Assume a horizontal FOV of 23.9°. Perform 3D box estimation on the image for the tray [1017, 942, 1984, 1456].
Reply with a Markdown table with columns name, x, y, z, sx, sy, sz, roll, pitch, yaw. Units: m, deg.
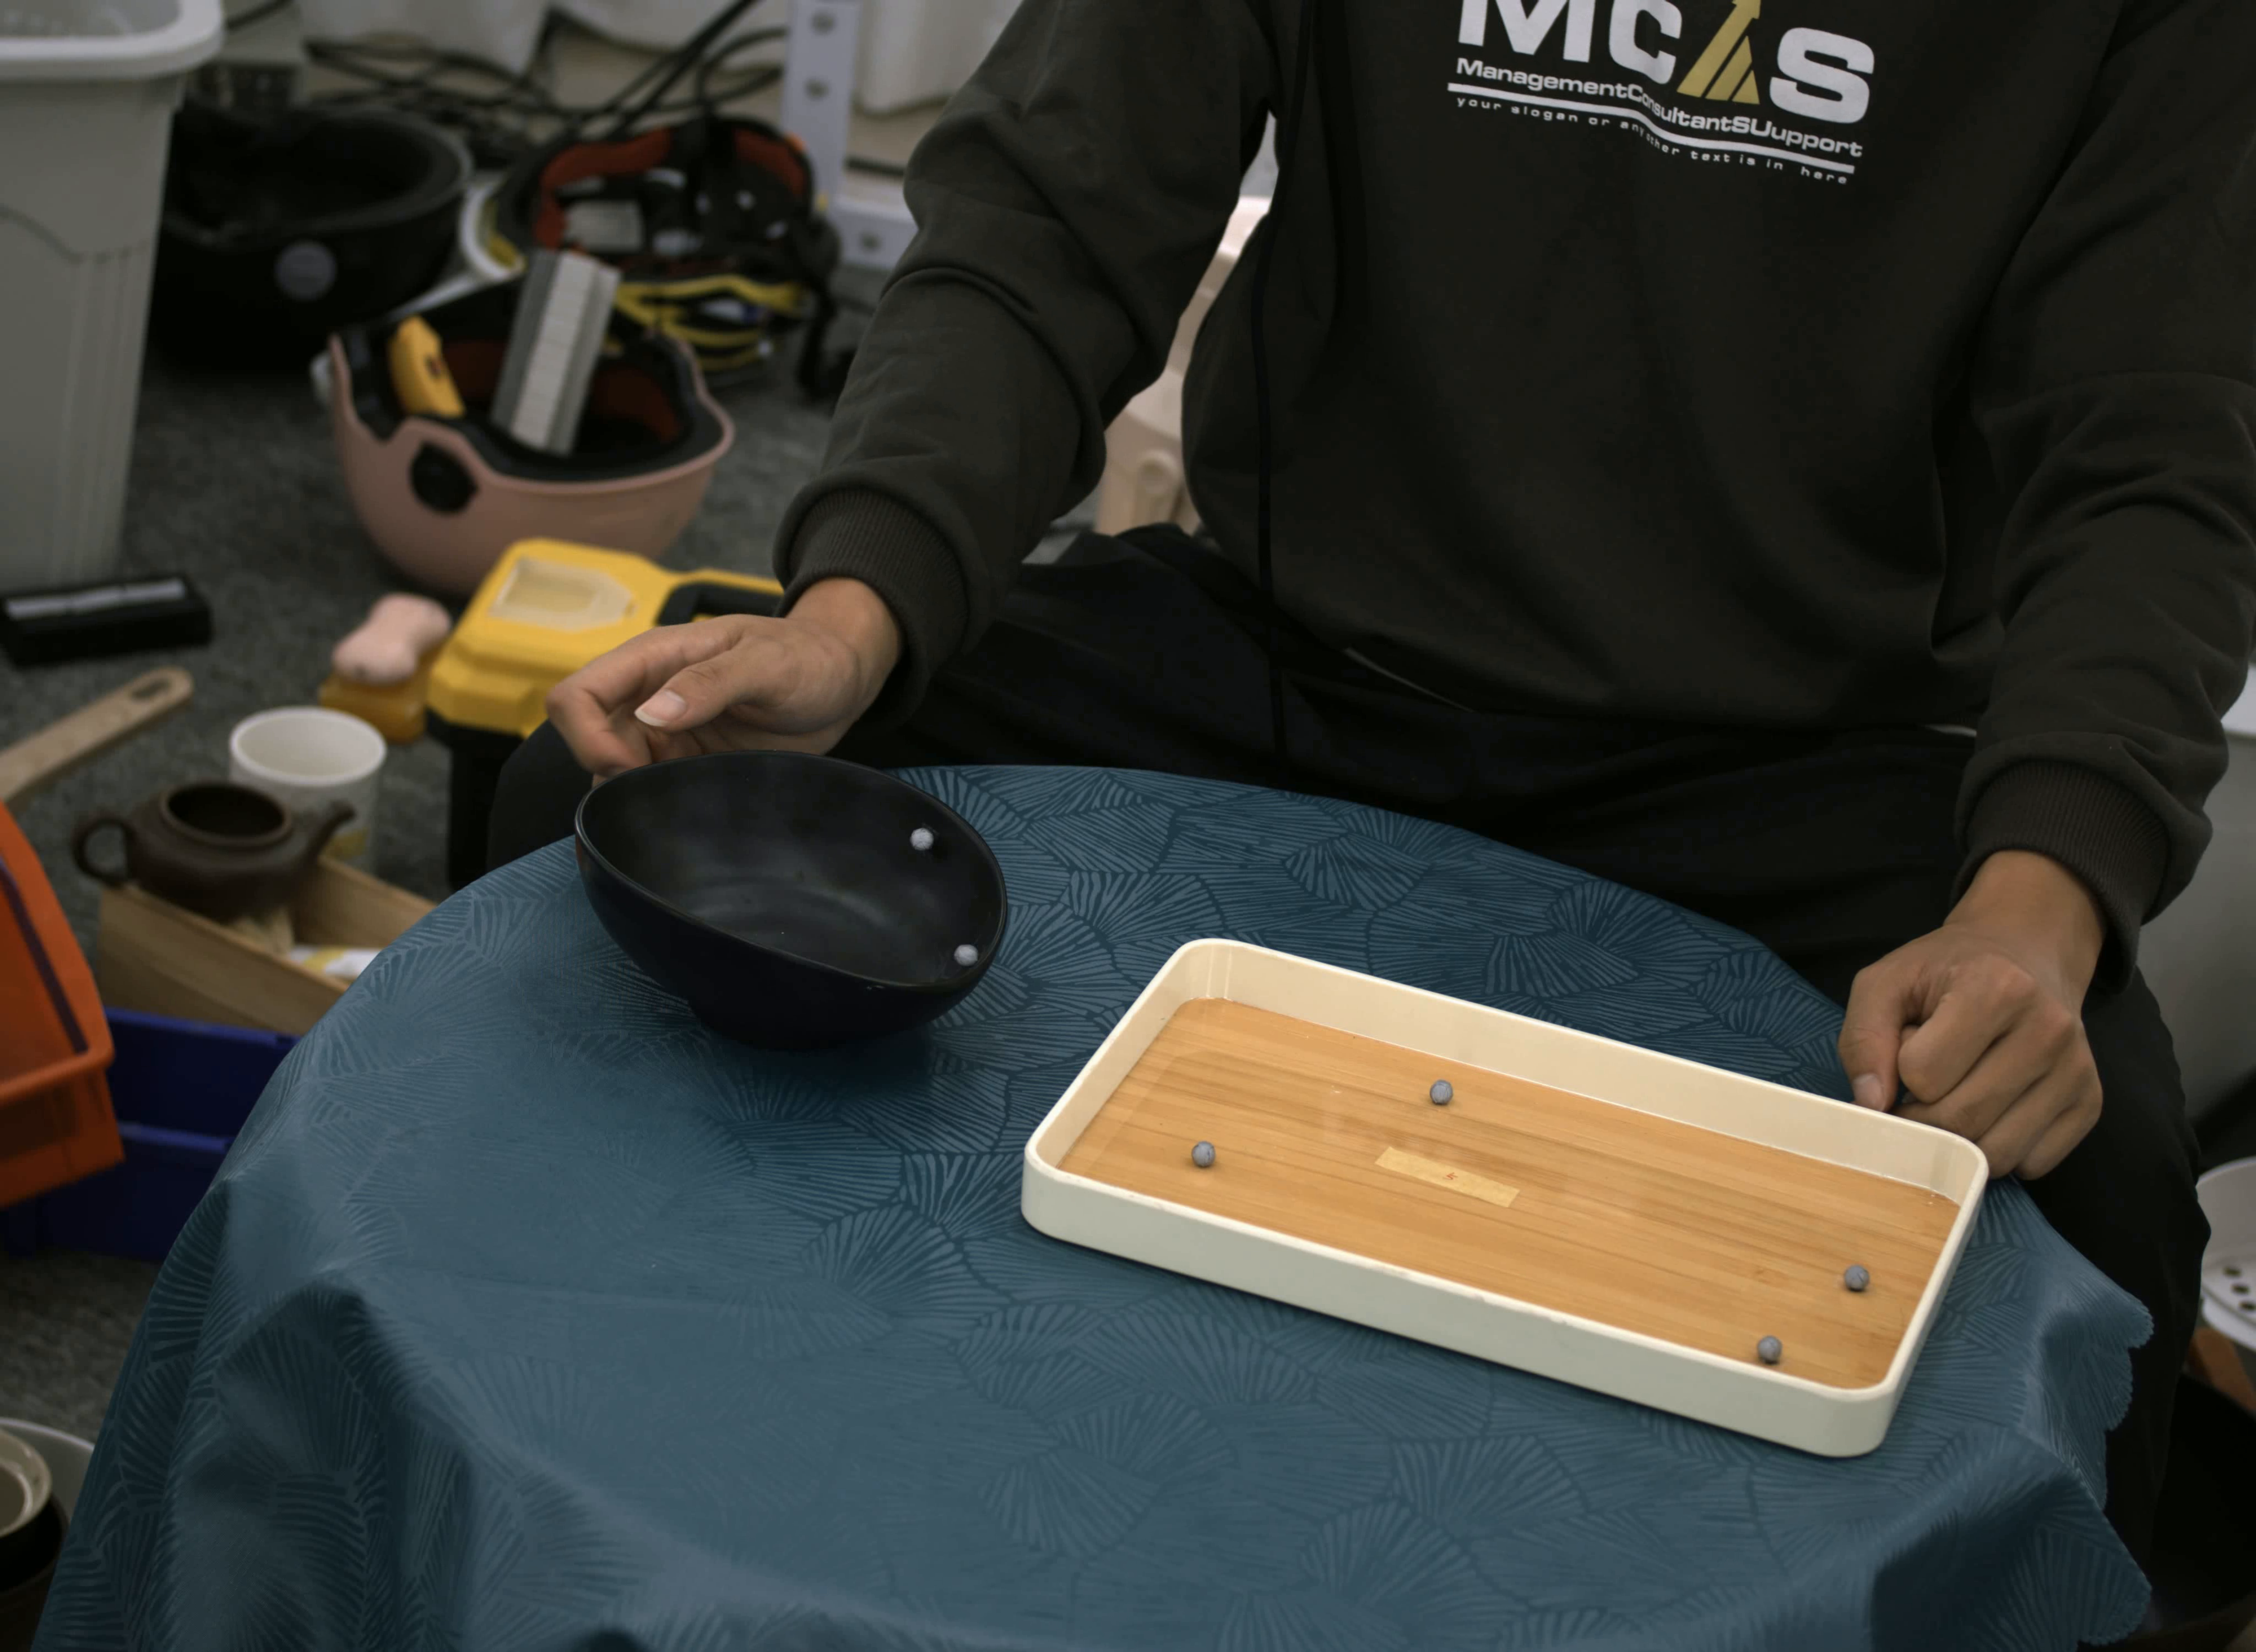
| name | x | y | z | sx | sy | sz | roll | pitch | yaw |
| --- | --- | --- | --- | --- | --- | --- | --- | --- | --- |
| tray | 0.129 | 0.122 | 1.810 | 0.301 | 0.027 | 0.192 | 14 | 27 | 15 |

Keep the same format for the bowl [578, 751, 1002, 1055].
| name | x | y | z | sx | sy | sz | roll | pitch | yaw |
| --- | --- | --- | --- | --- | --- | --- | --- | --- | --- |
| bowl | -0.120 | 0.035 | 1.884 | 0.171 | 0.066 | 0.137 | 28 | 35 | 33 |
